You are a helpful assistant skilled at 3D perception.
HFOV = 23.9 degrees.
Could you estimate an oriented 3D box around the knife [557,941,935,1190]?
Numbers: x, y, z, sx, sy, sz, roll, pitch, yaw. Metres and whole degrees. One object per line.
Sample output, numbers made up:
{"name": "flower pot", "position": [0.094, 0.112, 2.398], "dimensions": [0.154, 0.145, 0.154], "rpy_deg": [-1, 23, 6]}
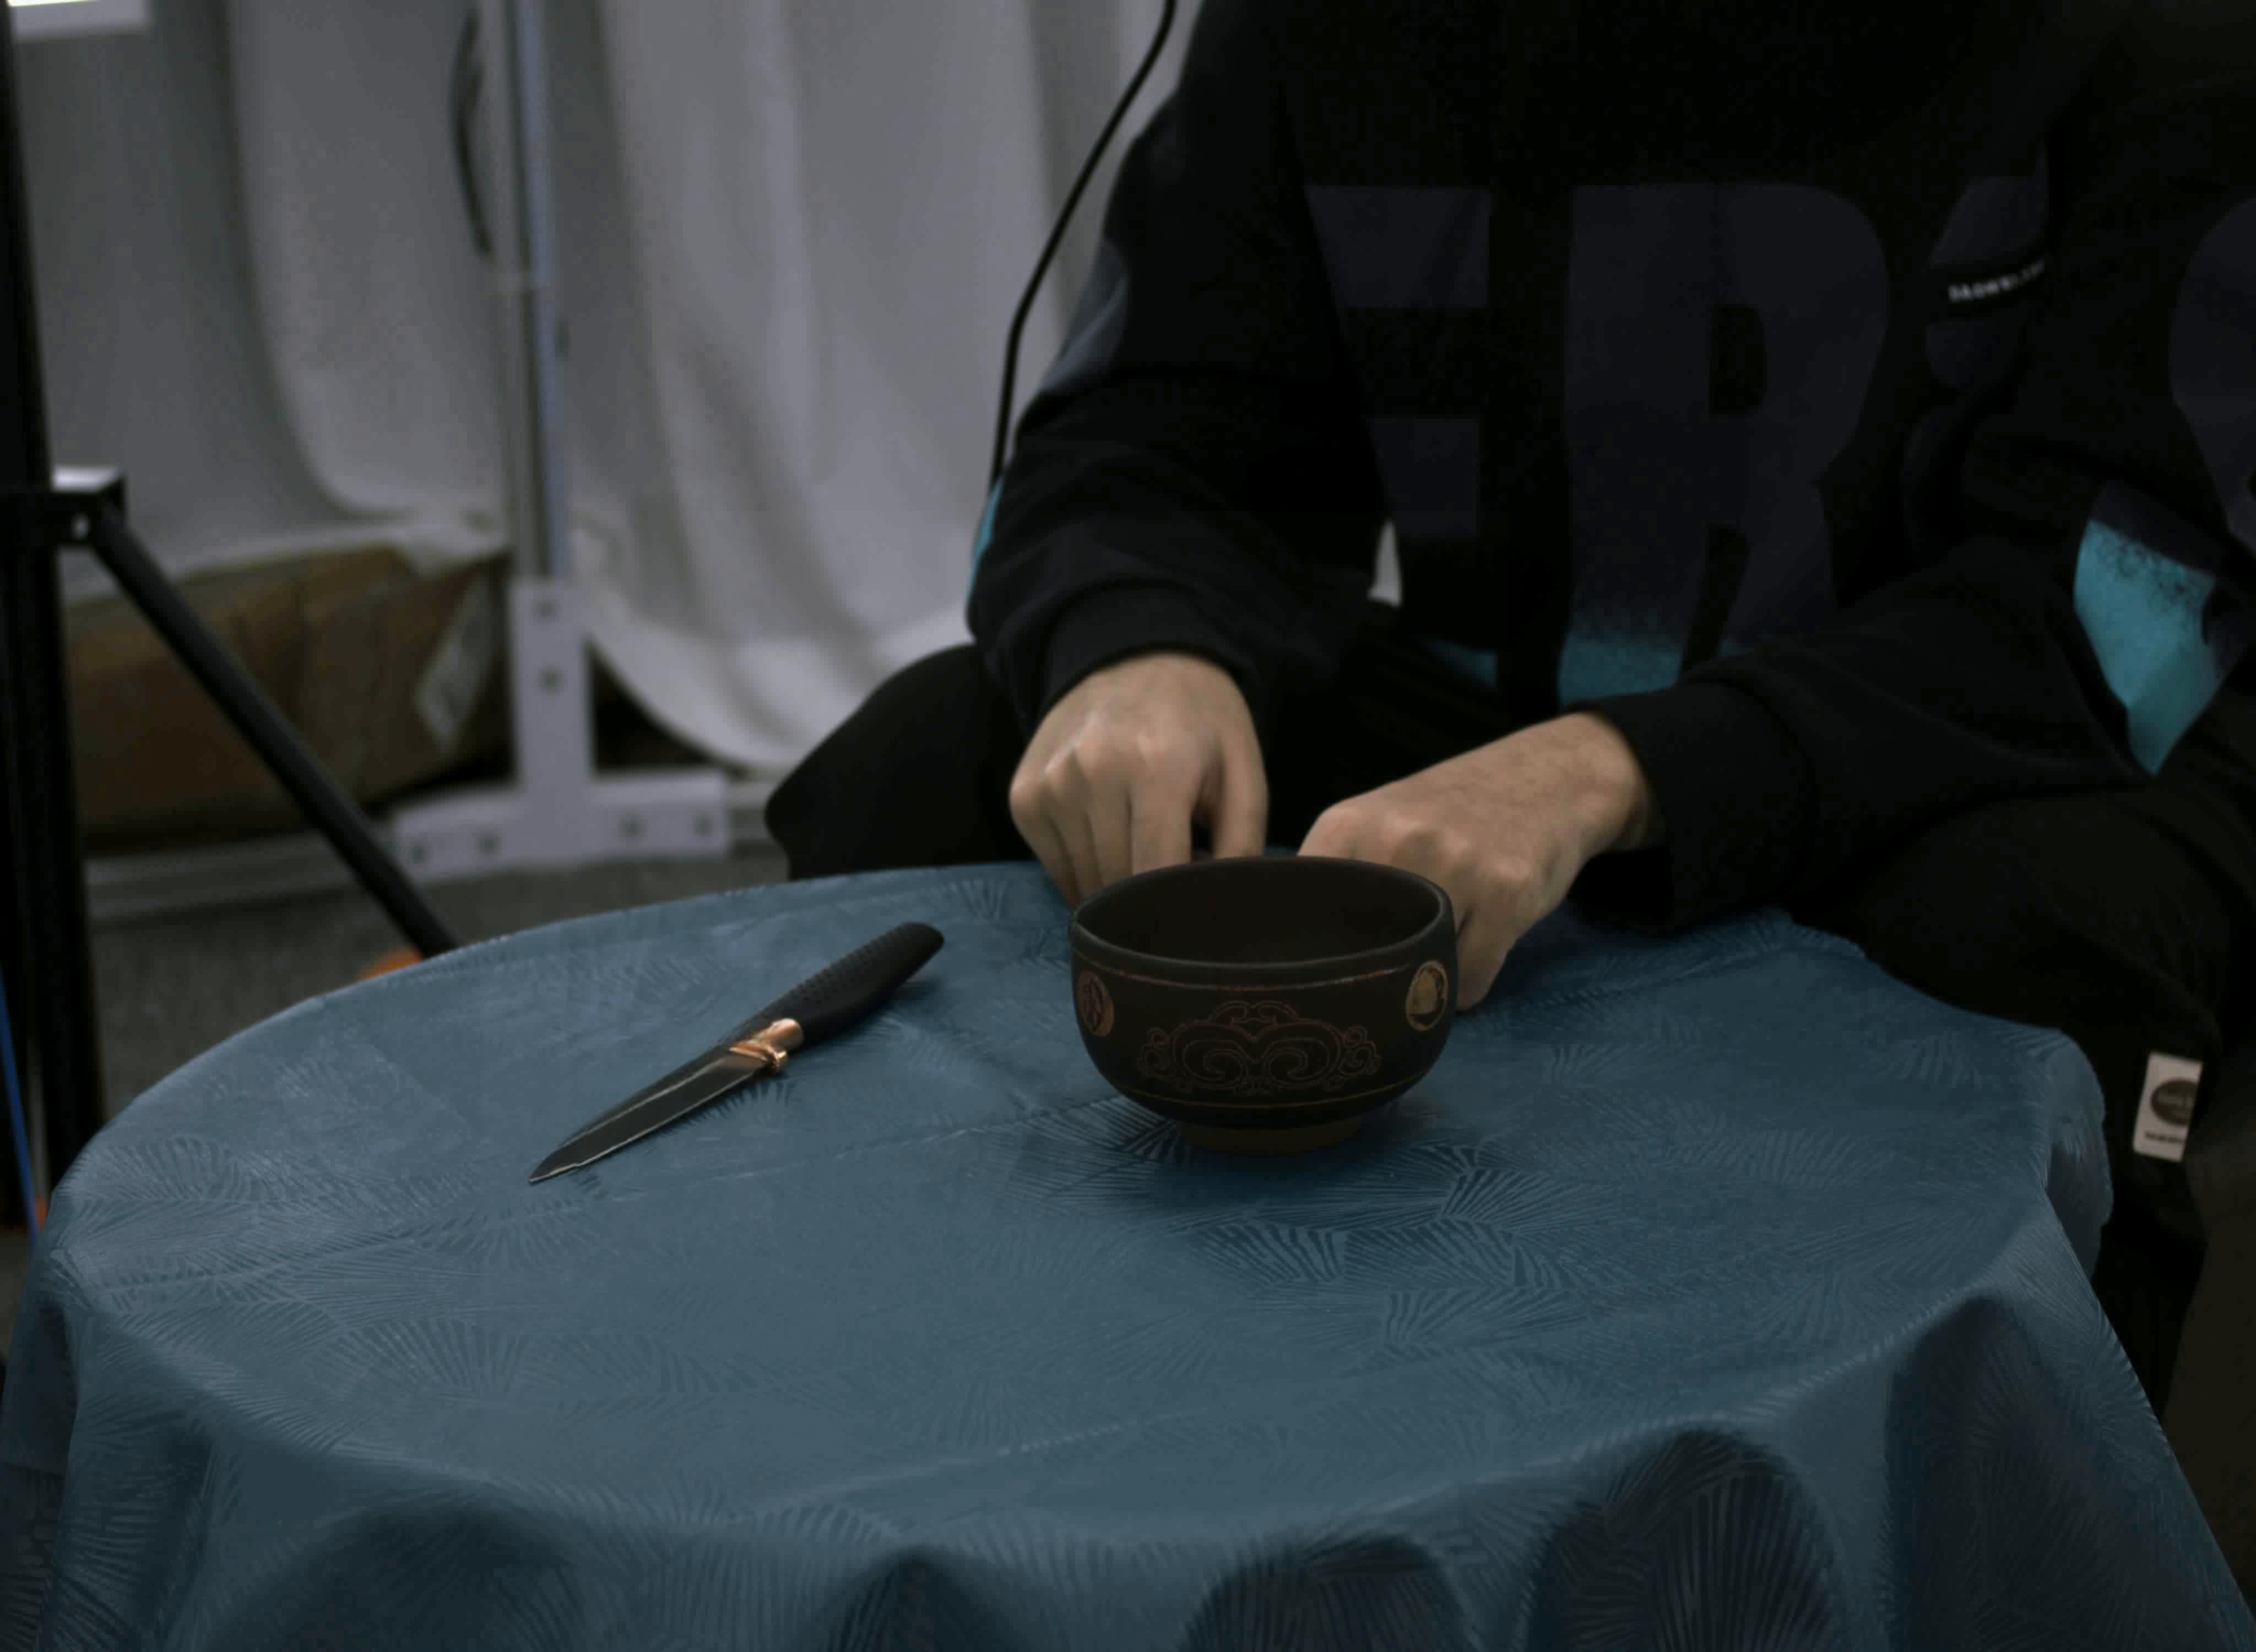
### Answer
{"name": "knife", "position": [-0.121, 0.075, 1.677], "dimensions": [0.026, 0.017, 0.222], "rpy_deg": [14, 23, 25]}

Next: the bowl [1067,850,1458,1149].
{"name": "bowl", "position": [0.041, 0.056, 1.598], "dimensions": [0.117, 0.070, 0.118], "rpy_deg": [-1, 15, -1]}
